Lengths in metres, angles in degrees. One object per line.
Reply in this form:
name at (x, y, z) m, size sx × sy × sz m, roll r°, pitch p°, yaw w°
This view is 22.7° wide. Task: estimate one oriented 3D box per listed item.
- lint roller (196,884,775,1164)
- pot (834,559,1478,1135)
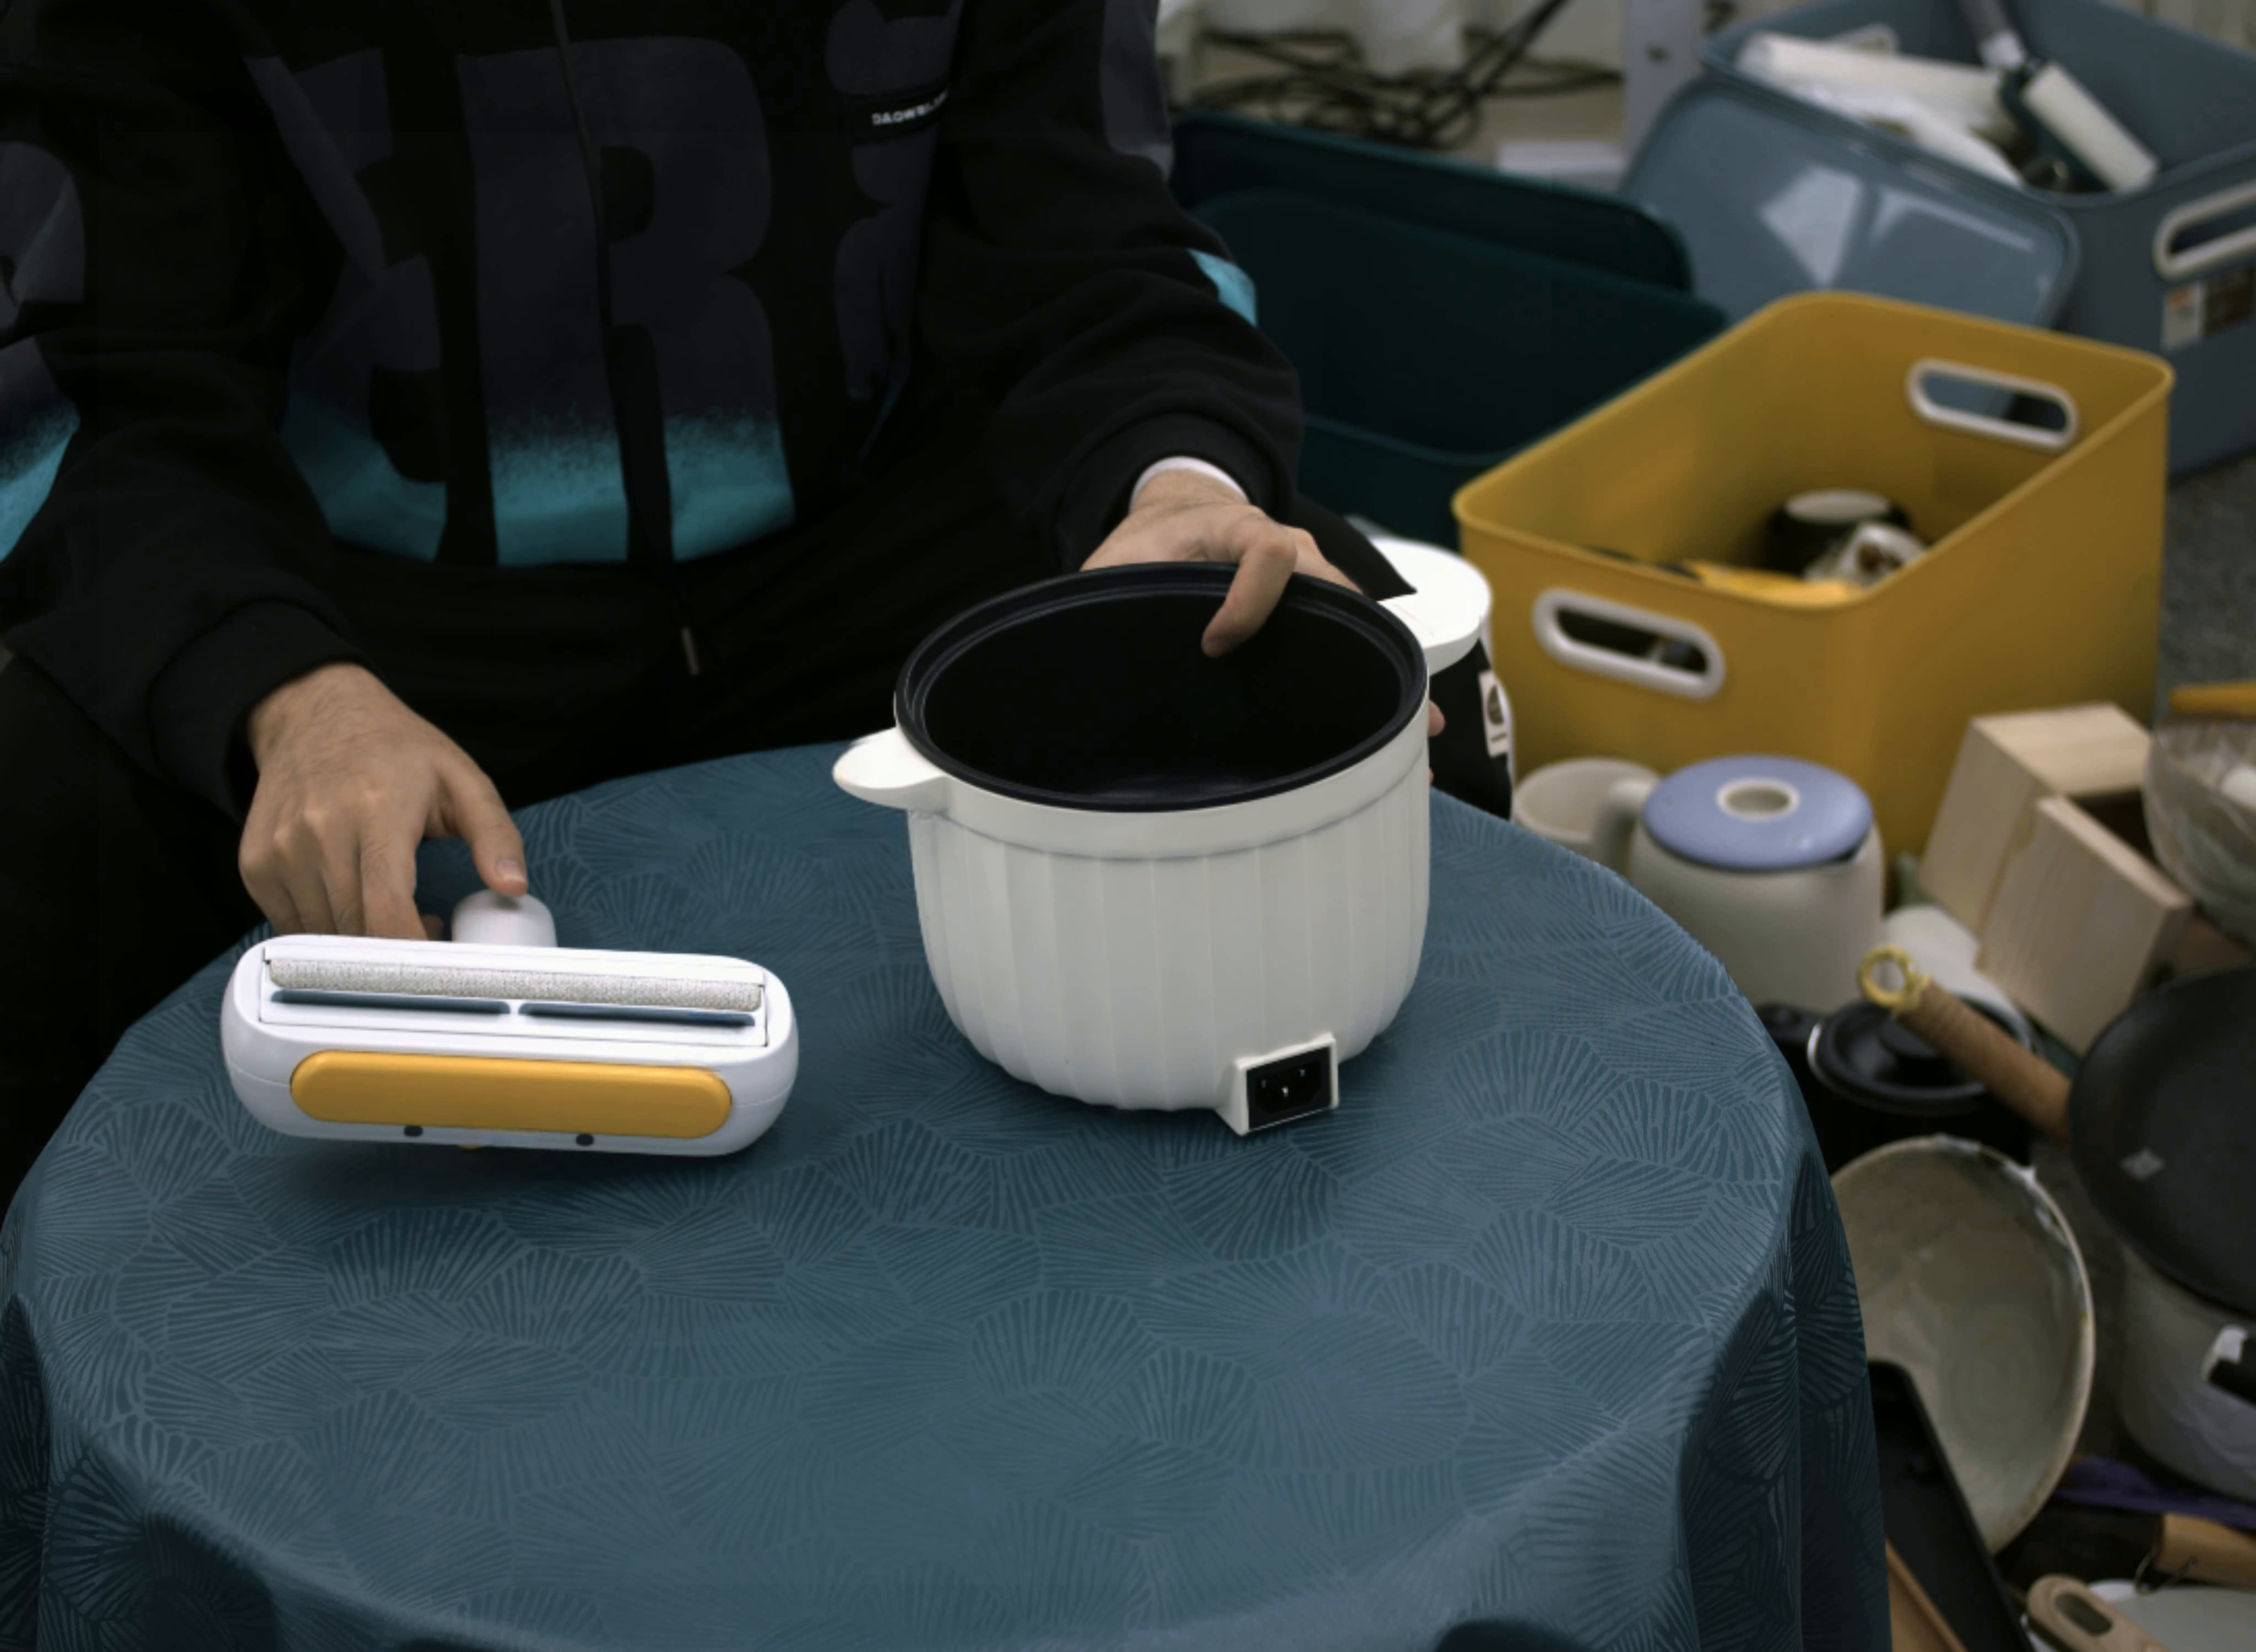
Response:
lint roller at (-0.217, 0.055, 1.937) m, size 0.192 × 0.073 × 0.195 m, roll 1°, pitch 26°, yaw -4°
pot at (0.011, 0.006, 1.932) m, size 0.241 × 0.141 × 0.192 m, roll -14°, pitch 32°, yaw -23°
